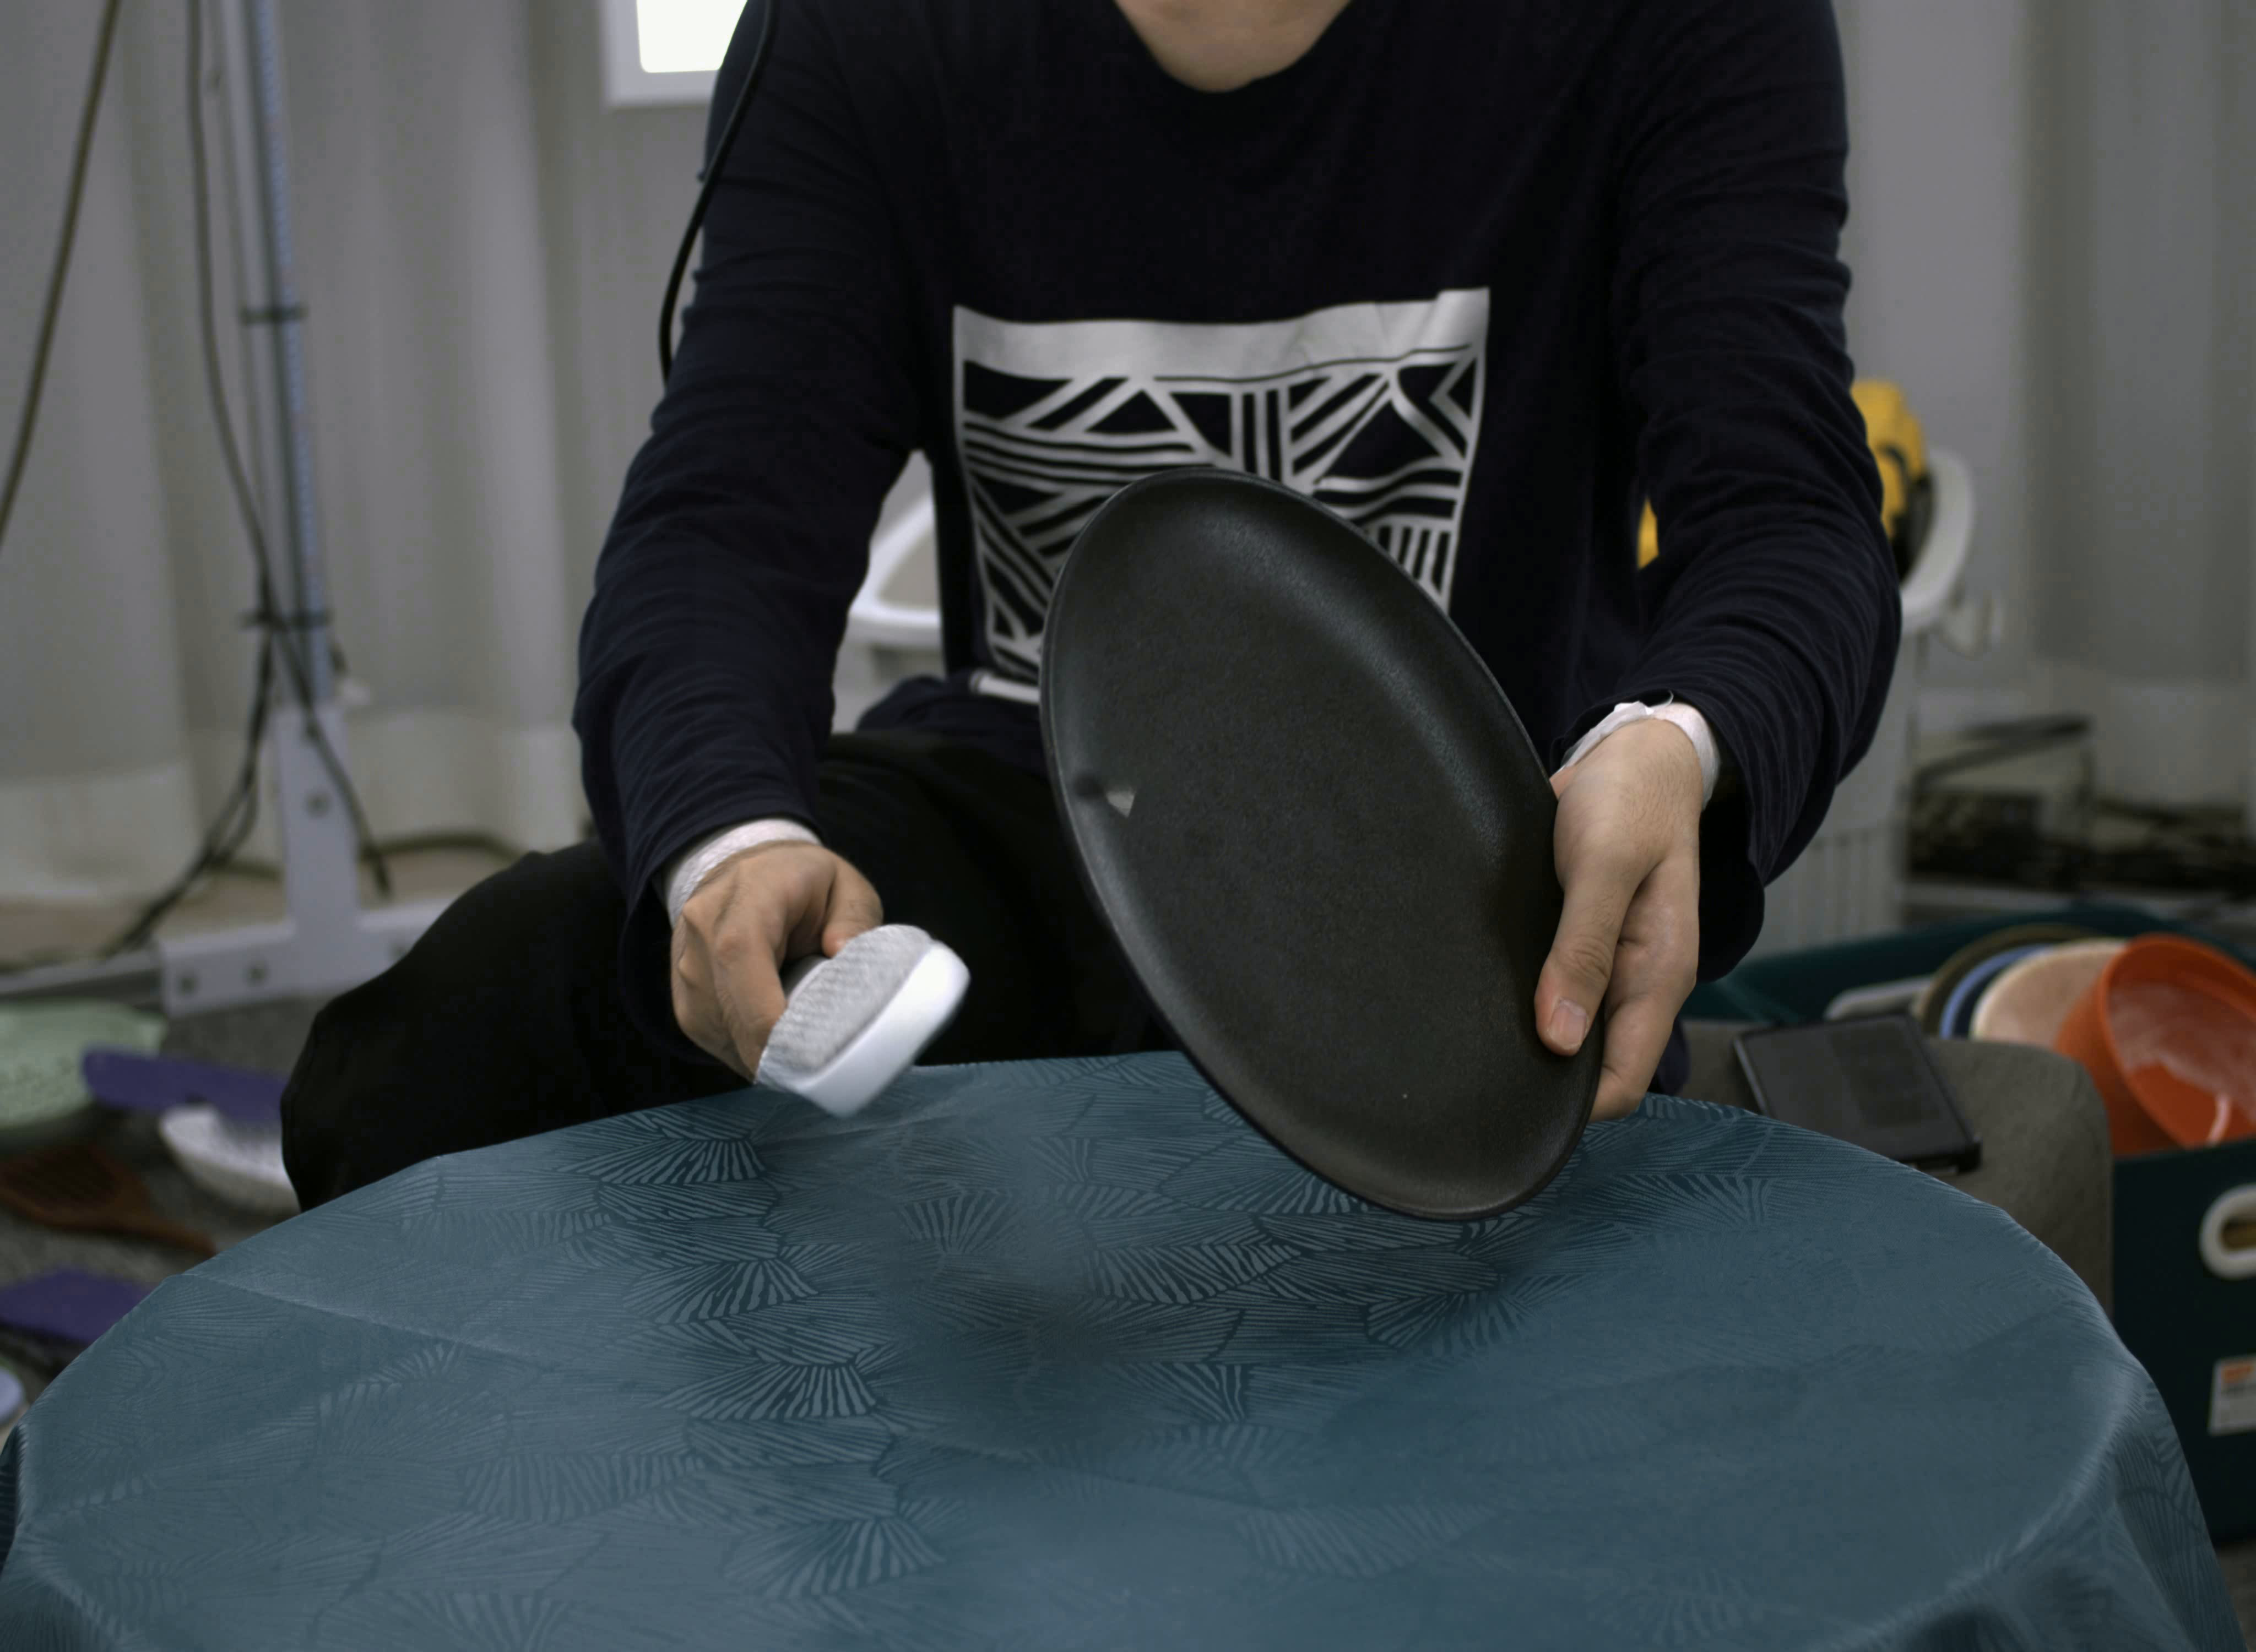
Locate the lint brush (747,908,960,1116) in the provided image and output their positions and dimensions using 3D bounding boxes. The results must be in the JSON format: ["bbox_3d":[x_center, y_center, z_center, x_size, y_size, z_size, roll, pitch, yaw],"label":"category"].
[{"bbox_3d":[-0.089,0.051,1.652,0.021,0.060,0.309,38,-5,-8],"label":"lint brush"}]

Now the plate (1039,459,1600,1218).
[{"bbox_3d":[0.054,0.005,1.626,0.023,0.245,0.244,-29,-4,35],"label":"plate"}]
